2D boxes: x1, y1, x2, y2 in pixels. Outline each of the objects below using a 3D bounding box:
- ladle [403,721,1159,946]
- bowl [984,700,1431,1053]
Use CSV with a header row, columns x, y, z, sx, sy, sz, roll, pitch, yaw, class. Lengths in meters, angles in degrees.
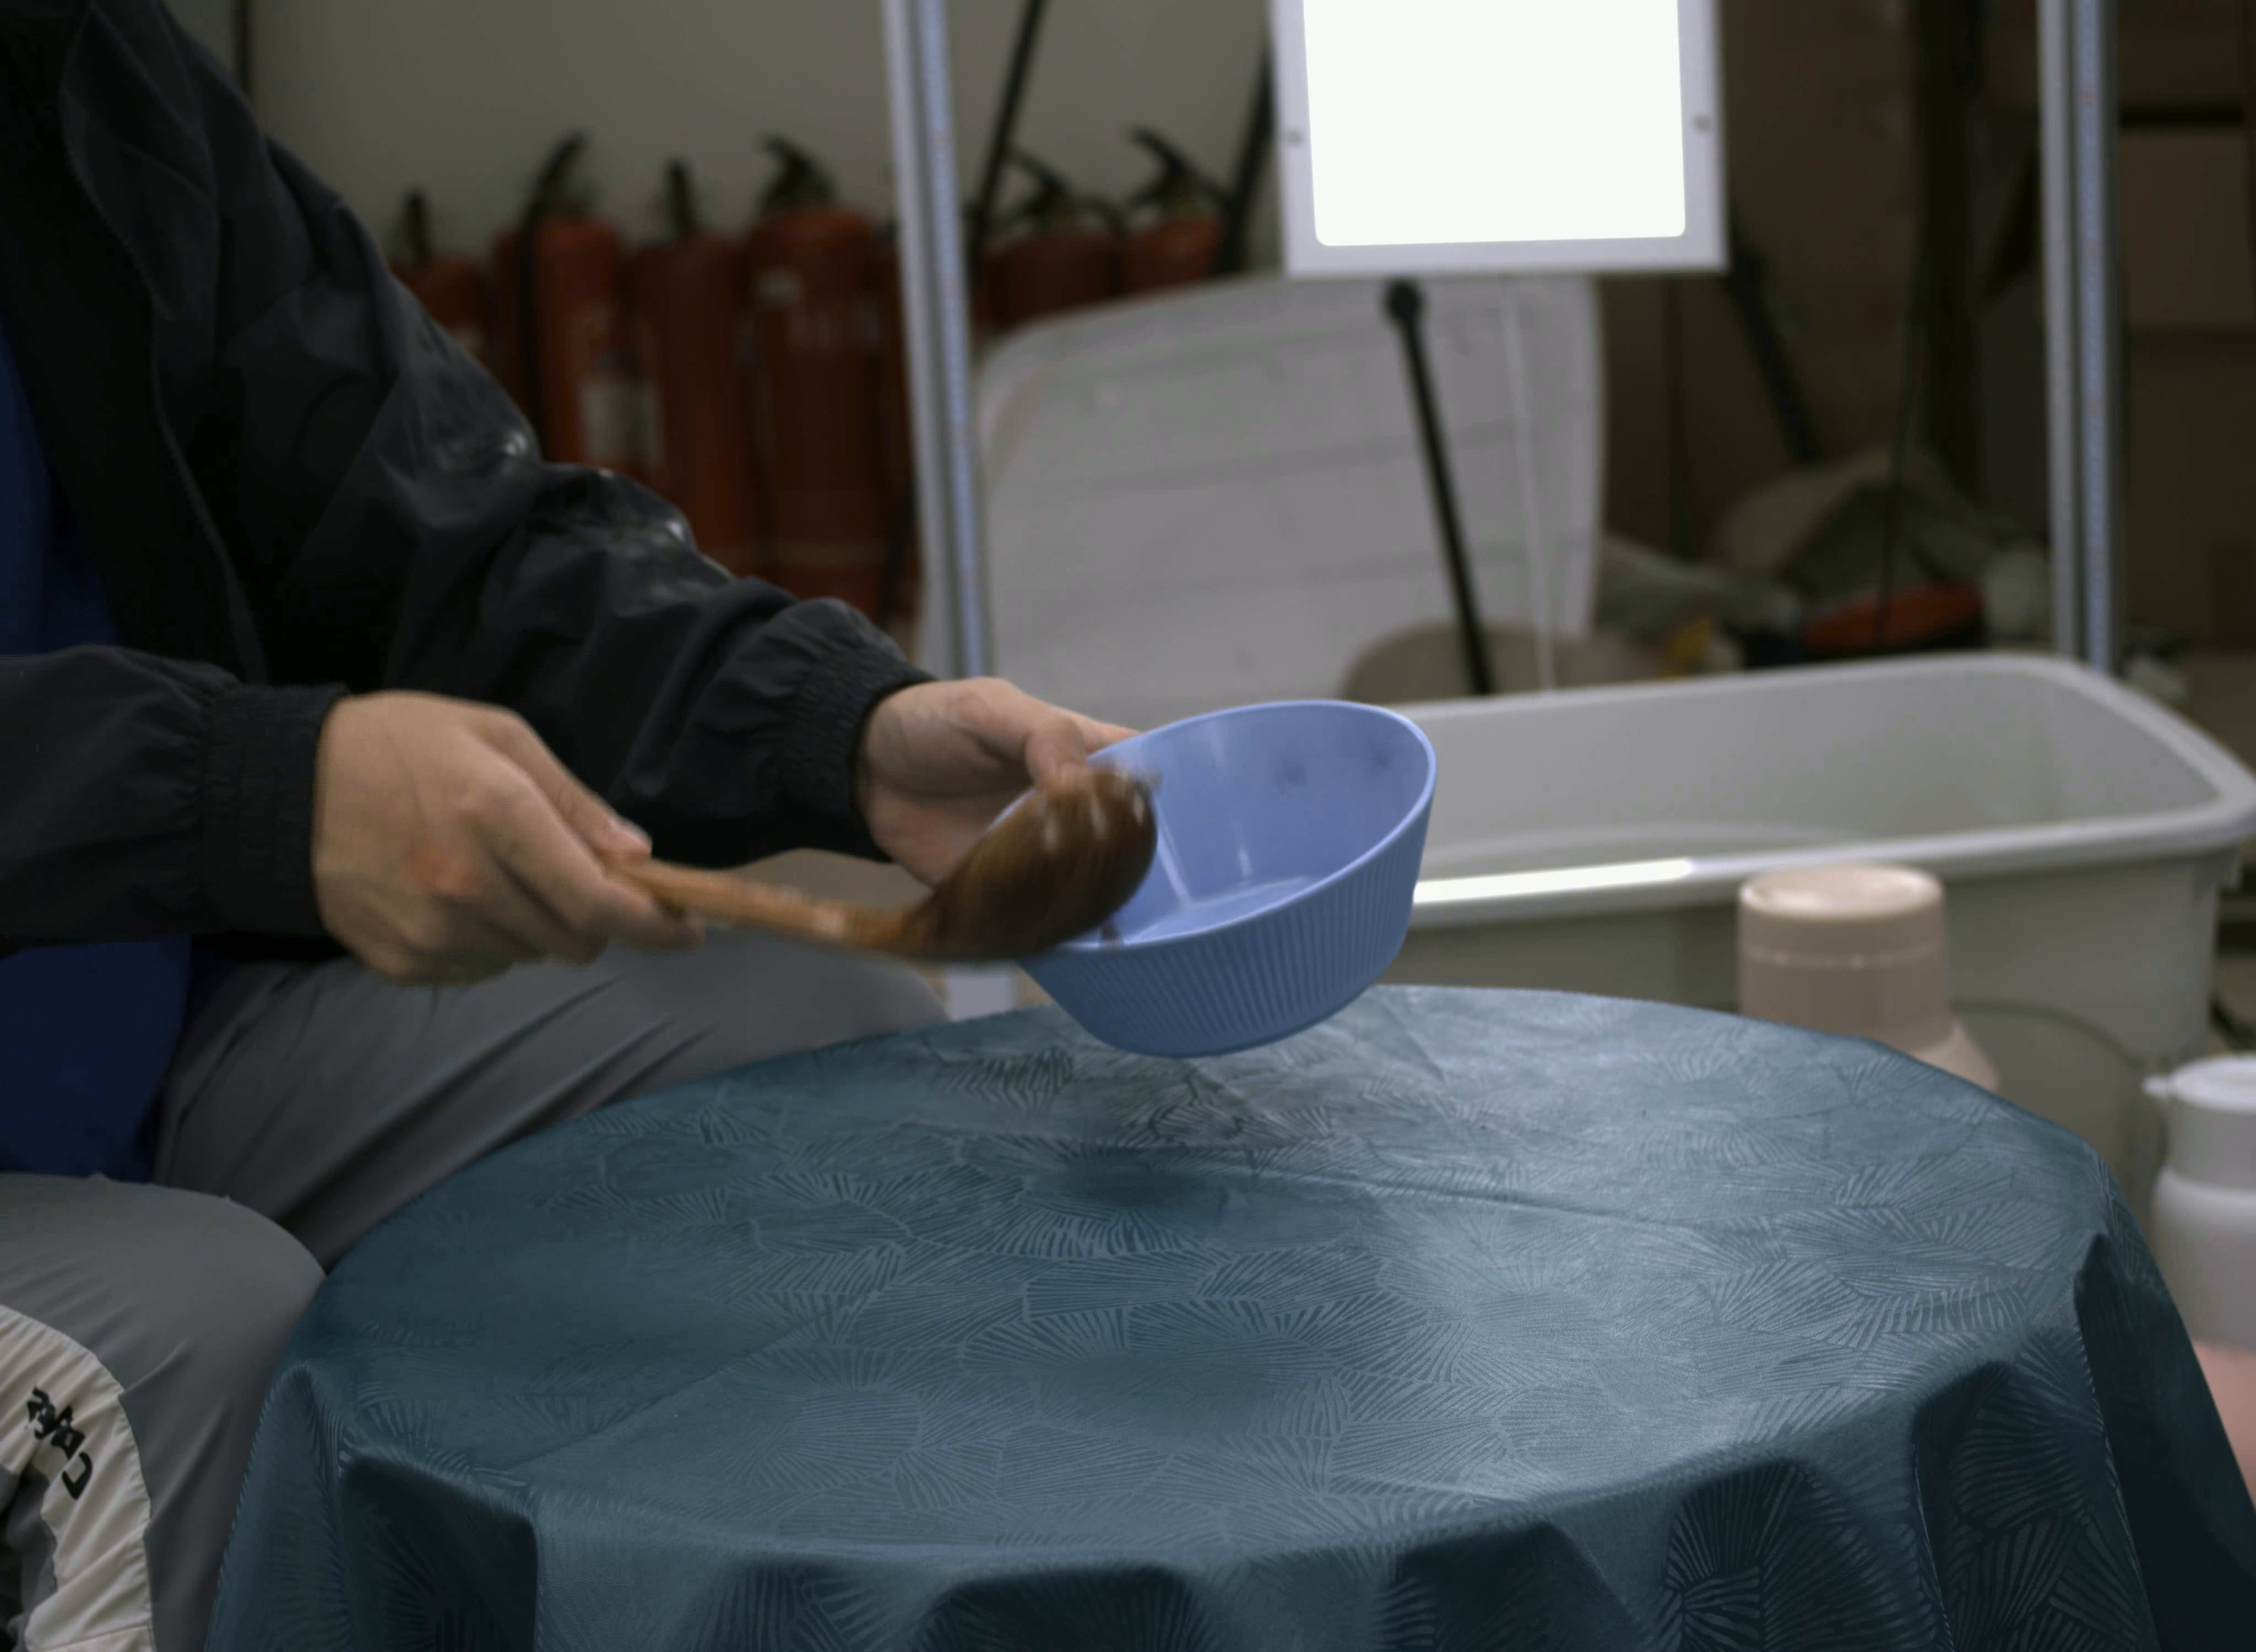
x,y,z,sx,sy,sz,roll,pitch,yaw,class
-0.118,-0.008,1.812,0.279,0.076,0.080,7,-12,30,ladle
0.032,0.024,1.956,0.176,0.070,0.175,-16,24,6,bowl
